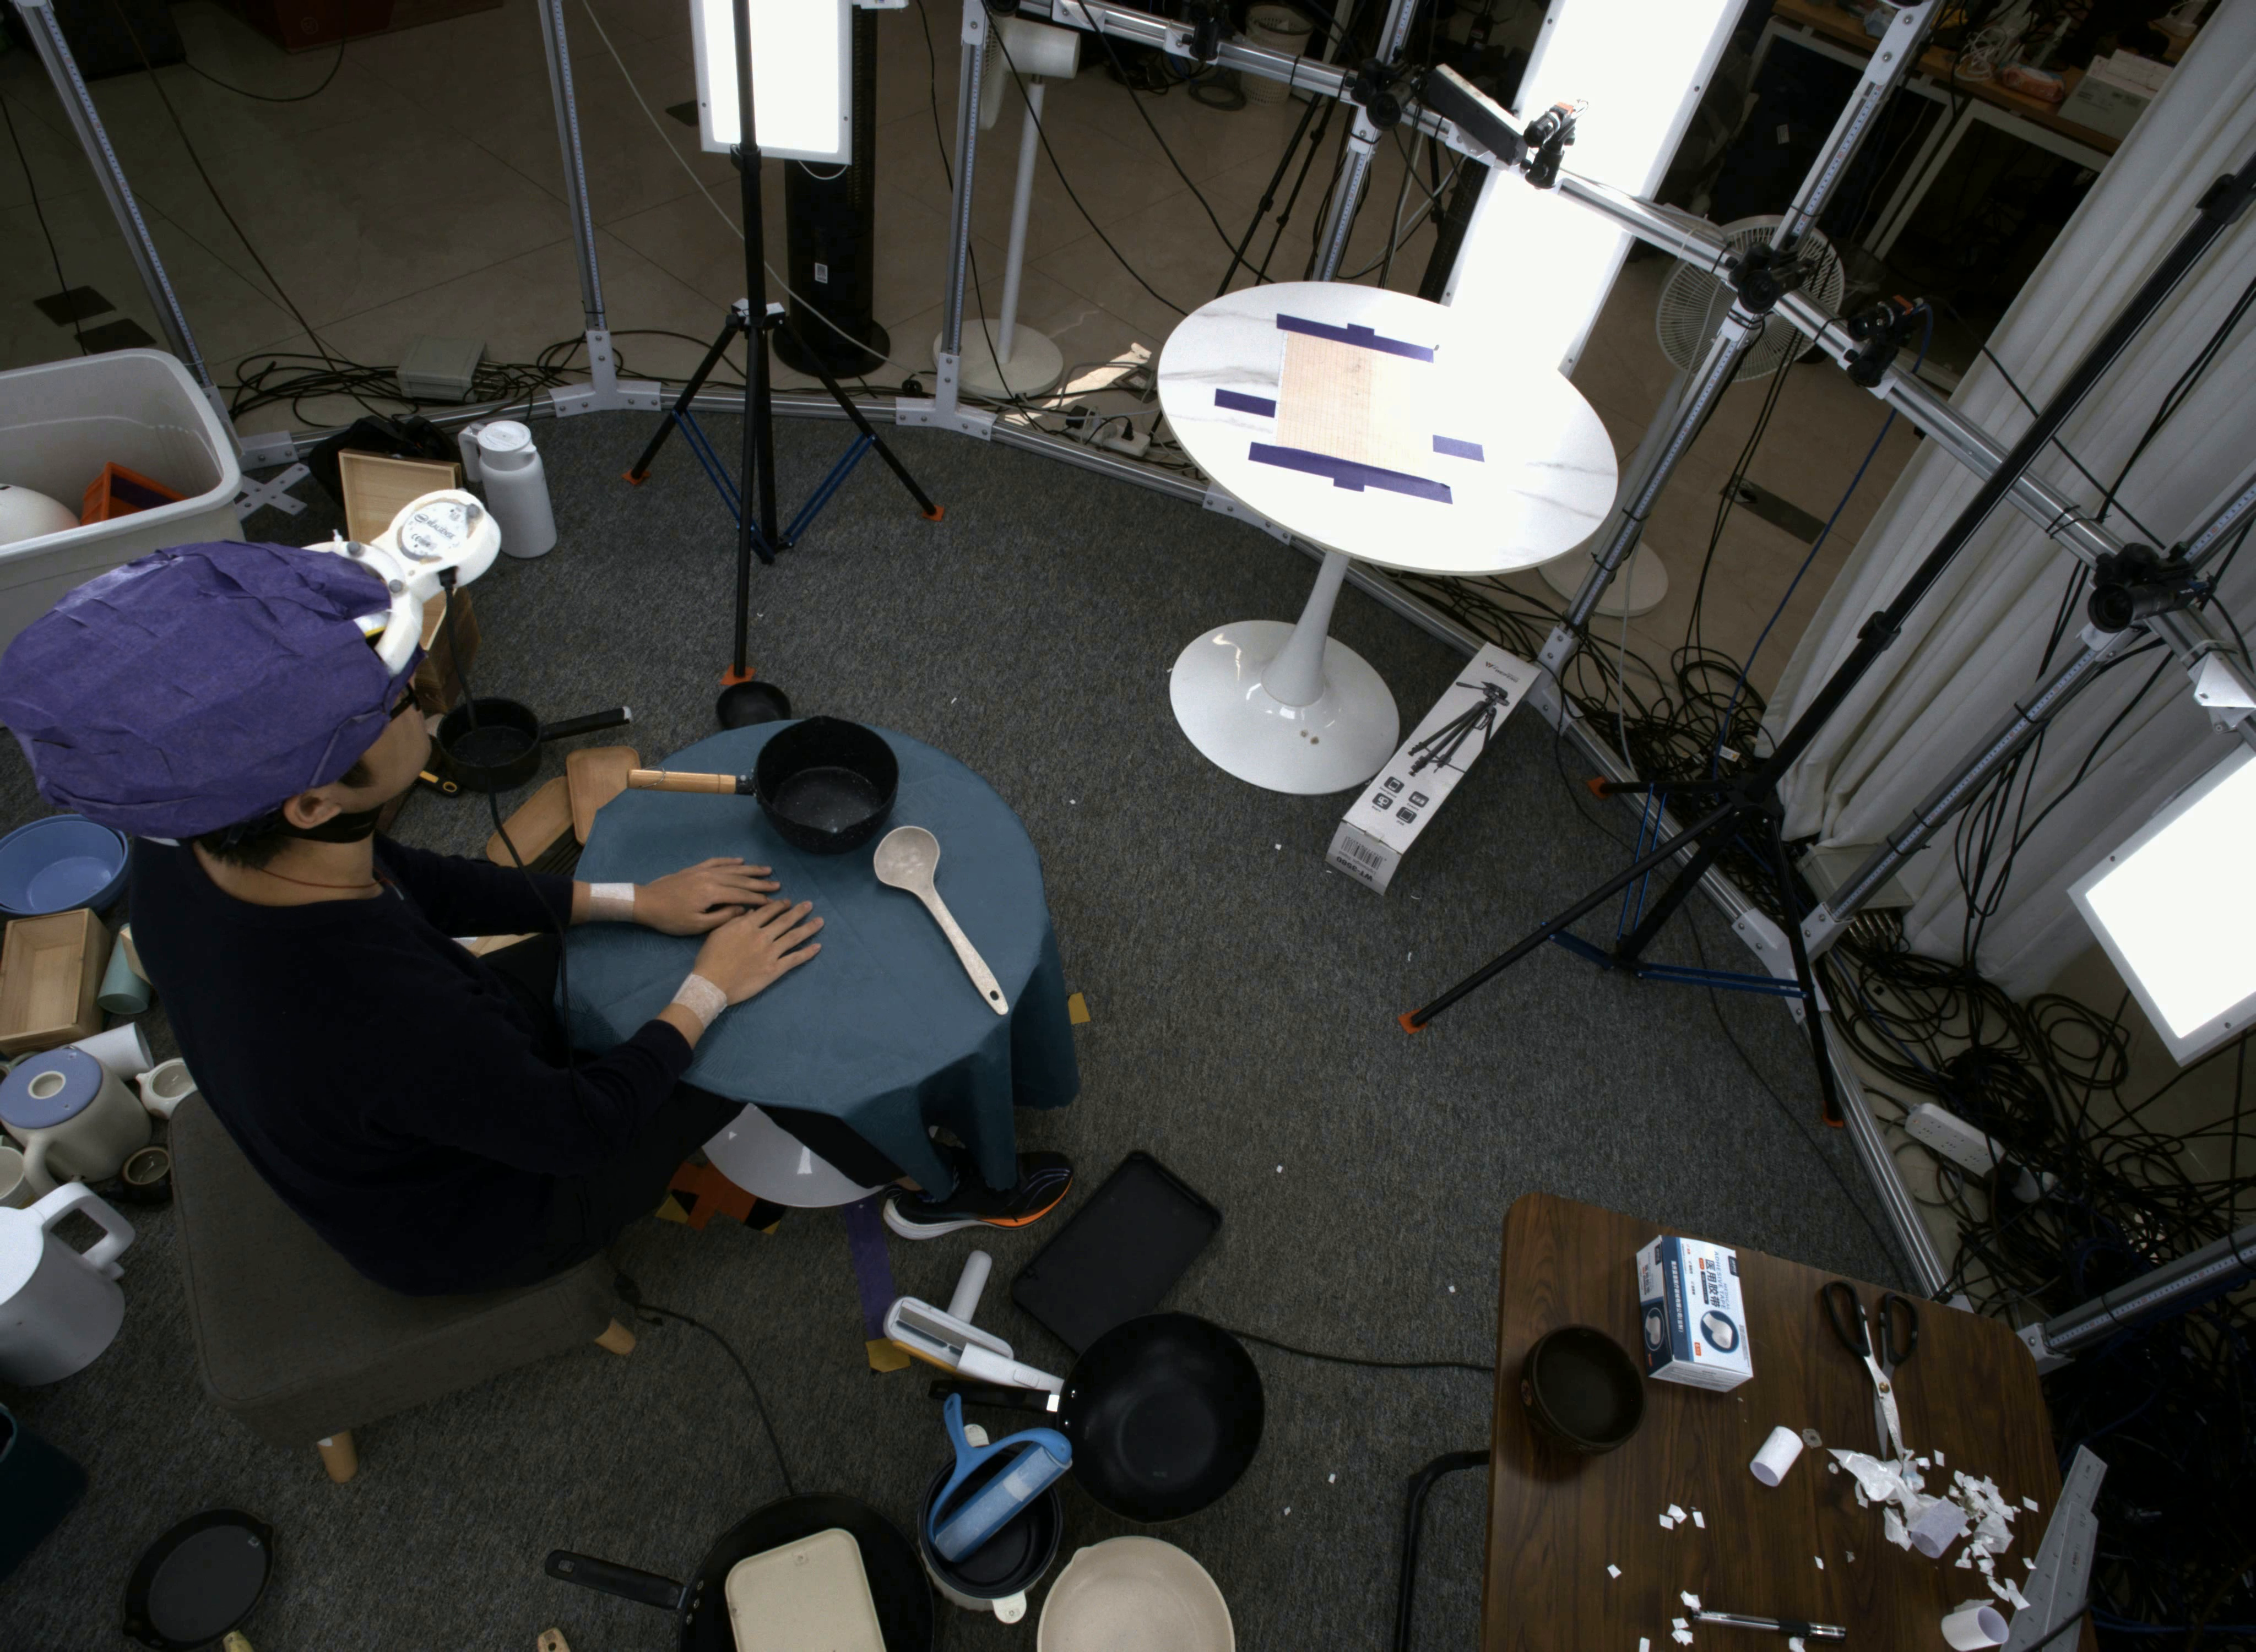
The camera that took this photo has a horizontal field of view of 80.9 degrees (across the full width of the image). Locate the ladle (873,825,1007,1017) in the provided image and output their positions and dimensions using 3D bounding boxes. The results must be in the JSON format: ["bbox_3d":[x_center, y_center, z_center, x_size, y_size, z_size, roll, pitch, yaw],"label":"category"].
[{"bbox_3d":[-0.228,0.116,1.637,0.089,0.071,0.268,-27,65,-23],"label":"ladle"}]

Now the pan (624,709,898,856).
[{"bbox_3d":[-0.470,-0.047,1.667,0.344,0.110,0.203,-5,56,-20],"label":"pan"}]
